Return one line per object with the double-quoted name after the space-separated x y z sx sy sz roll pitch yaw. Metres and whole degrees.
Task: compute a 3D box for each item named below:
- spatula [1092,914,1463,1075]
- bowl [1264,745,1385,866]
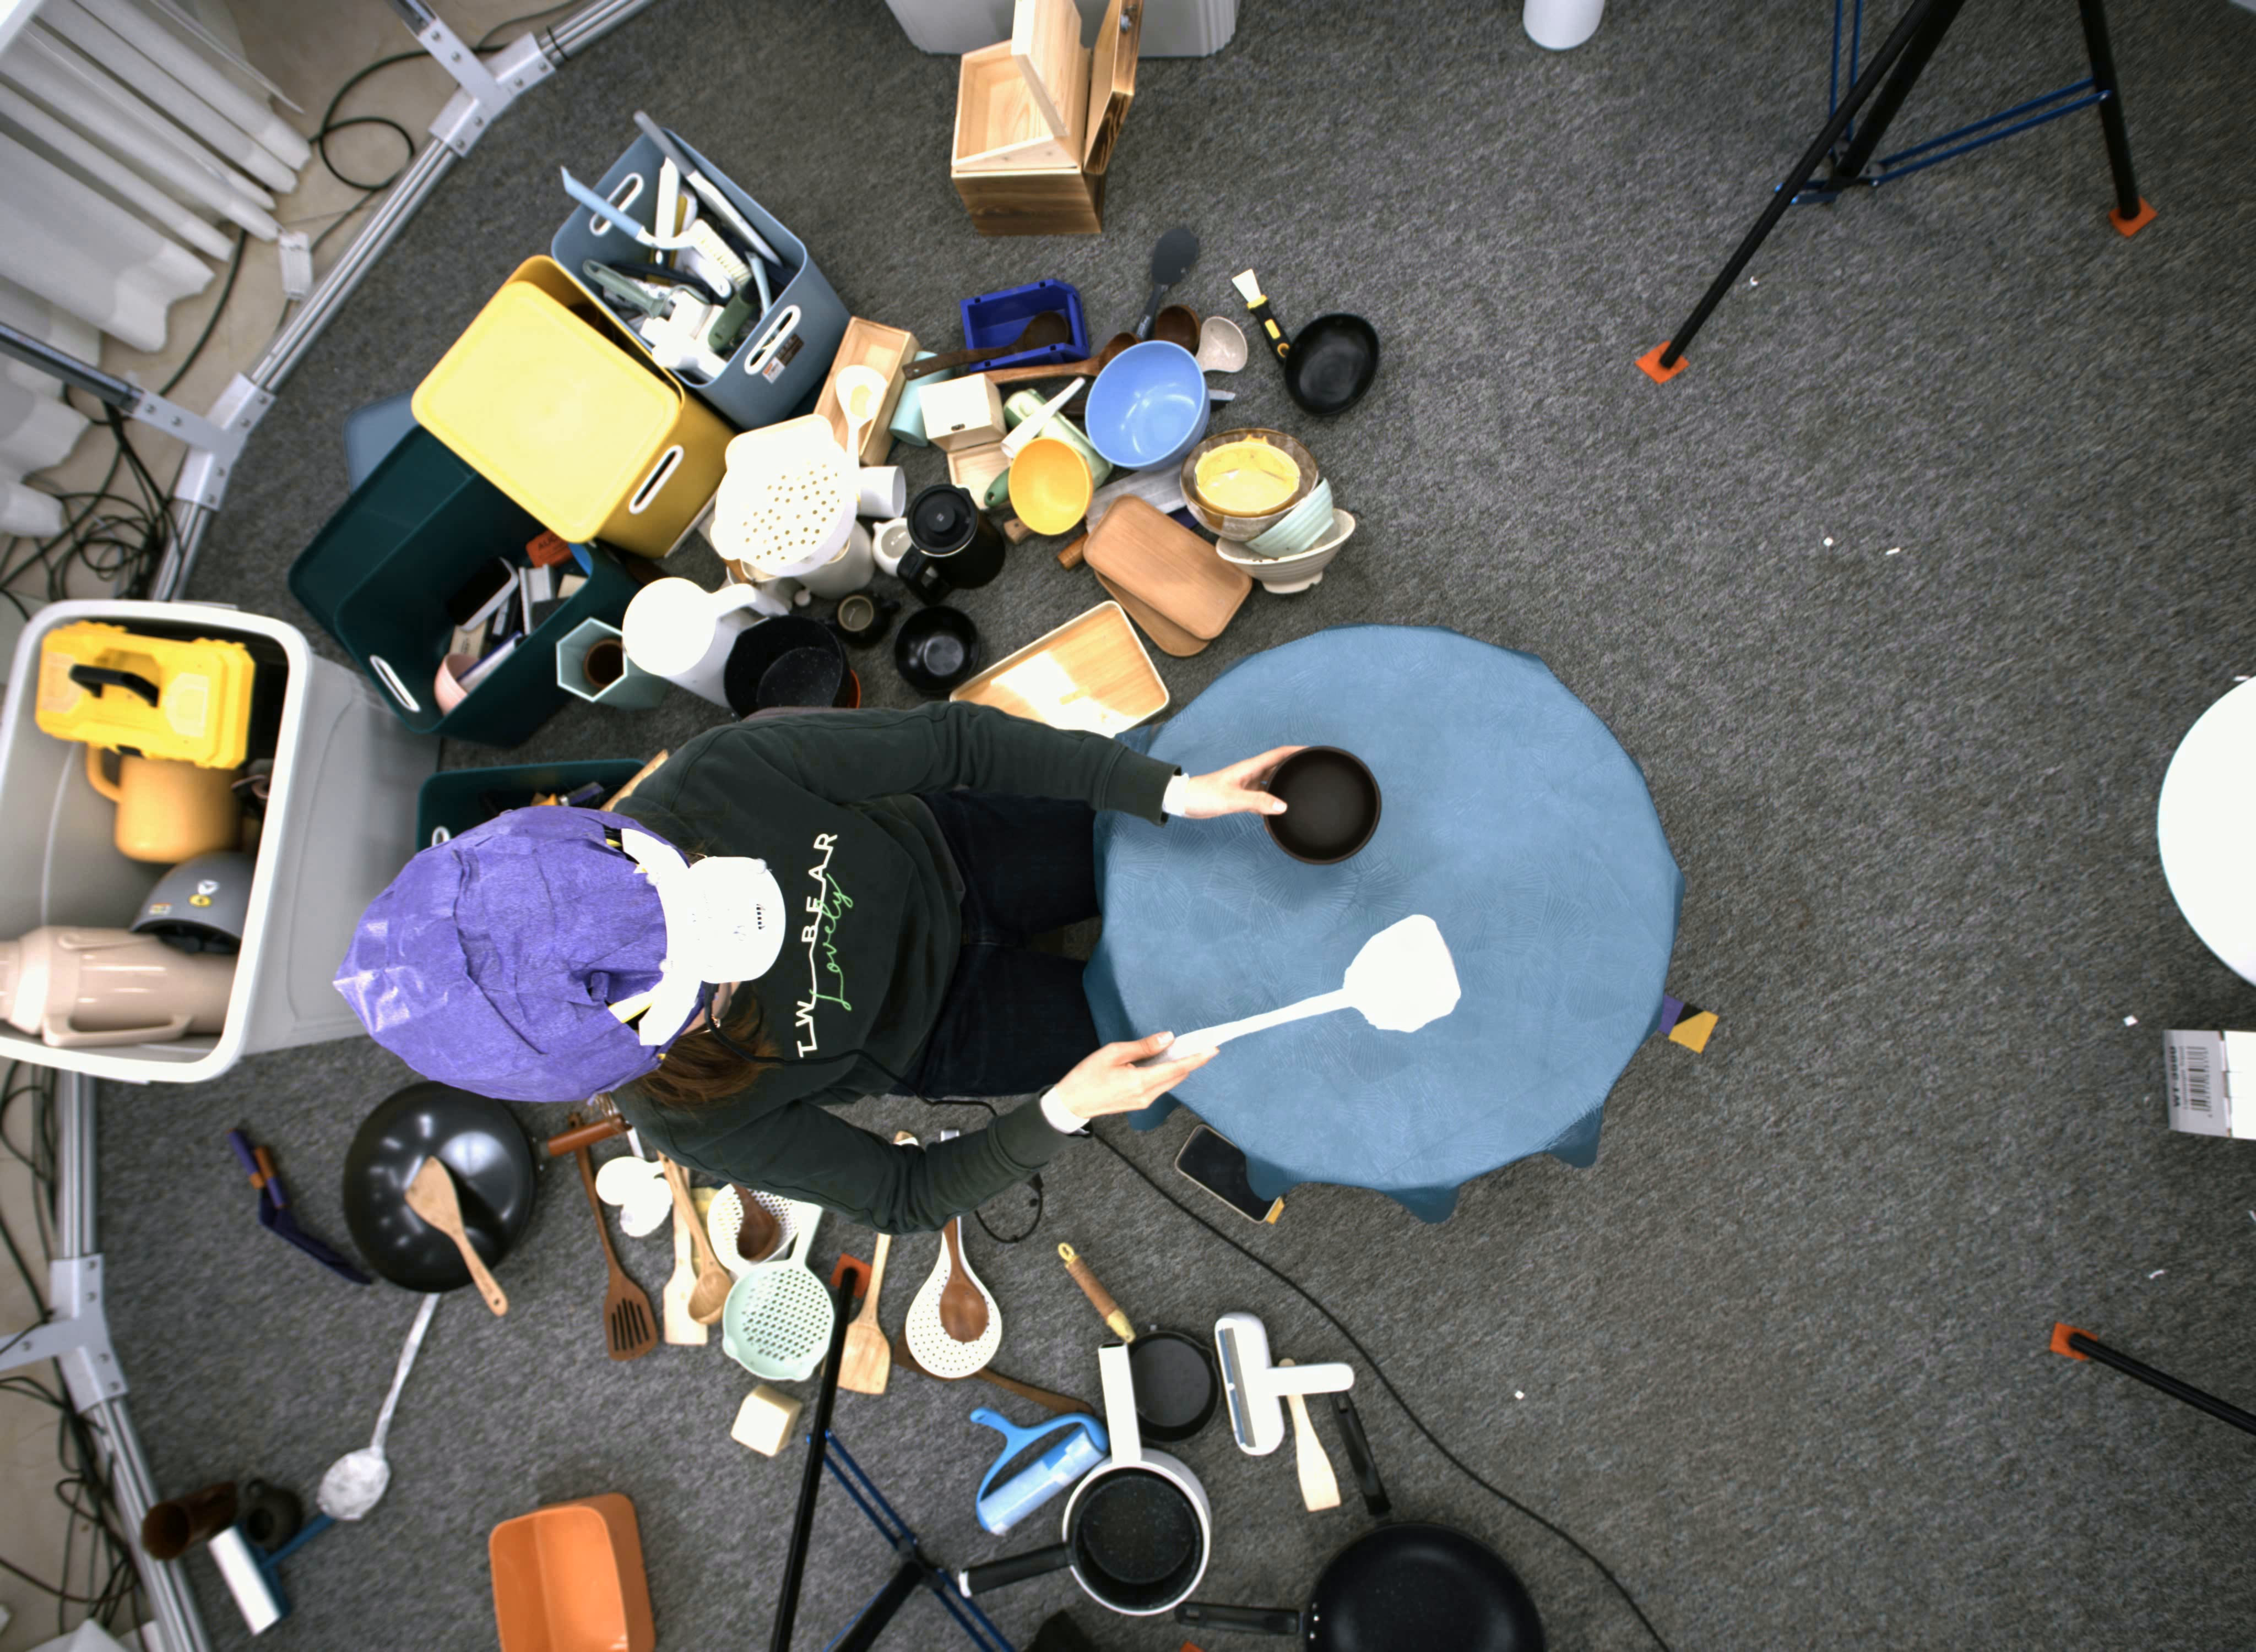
0.133 0.178 1.301 0.367 0.045 0.097 -18 71 11 "spatula"
0.196 -0.020 1.368 0.118 0.069 0.118 0 90 13 "bowl"
